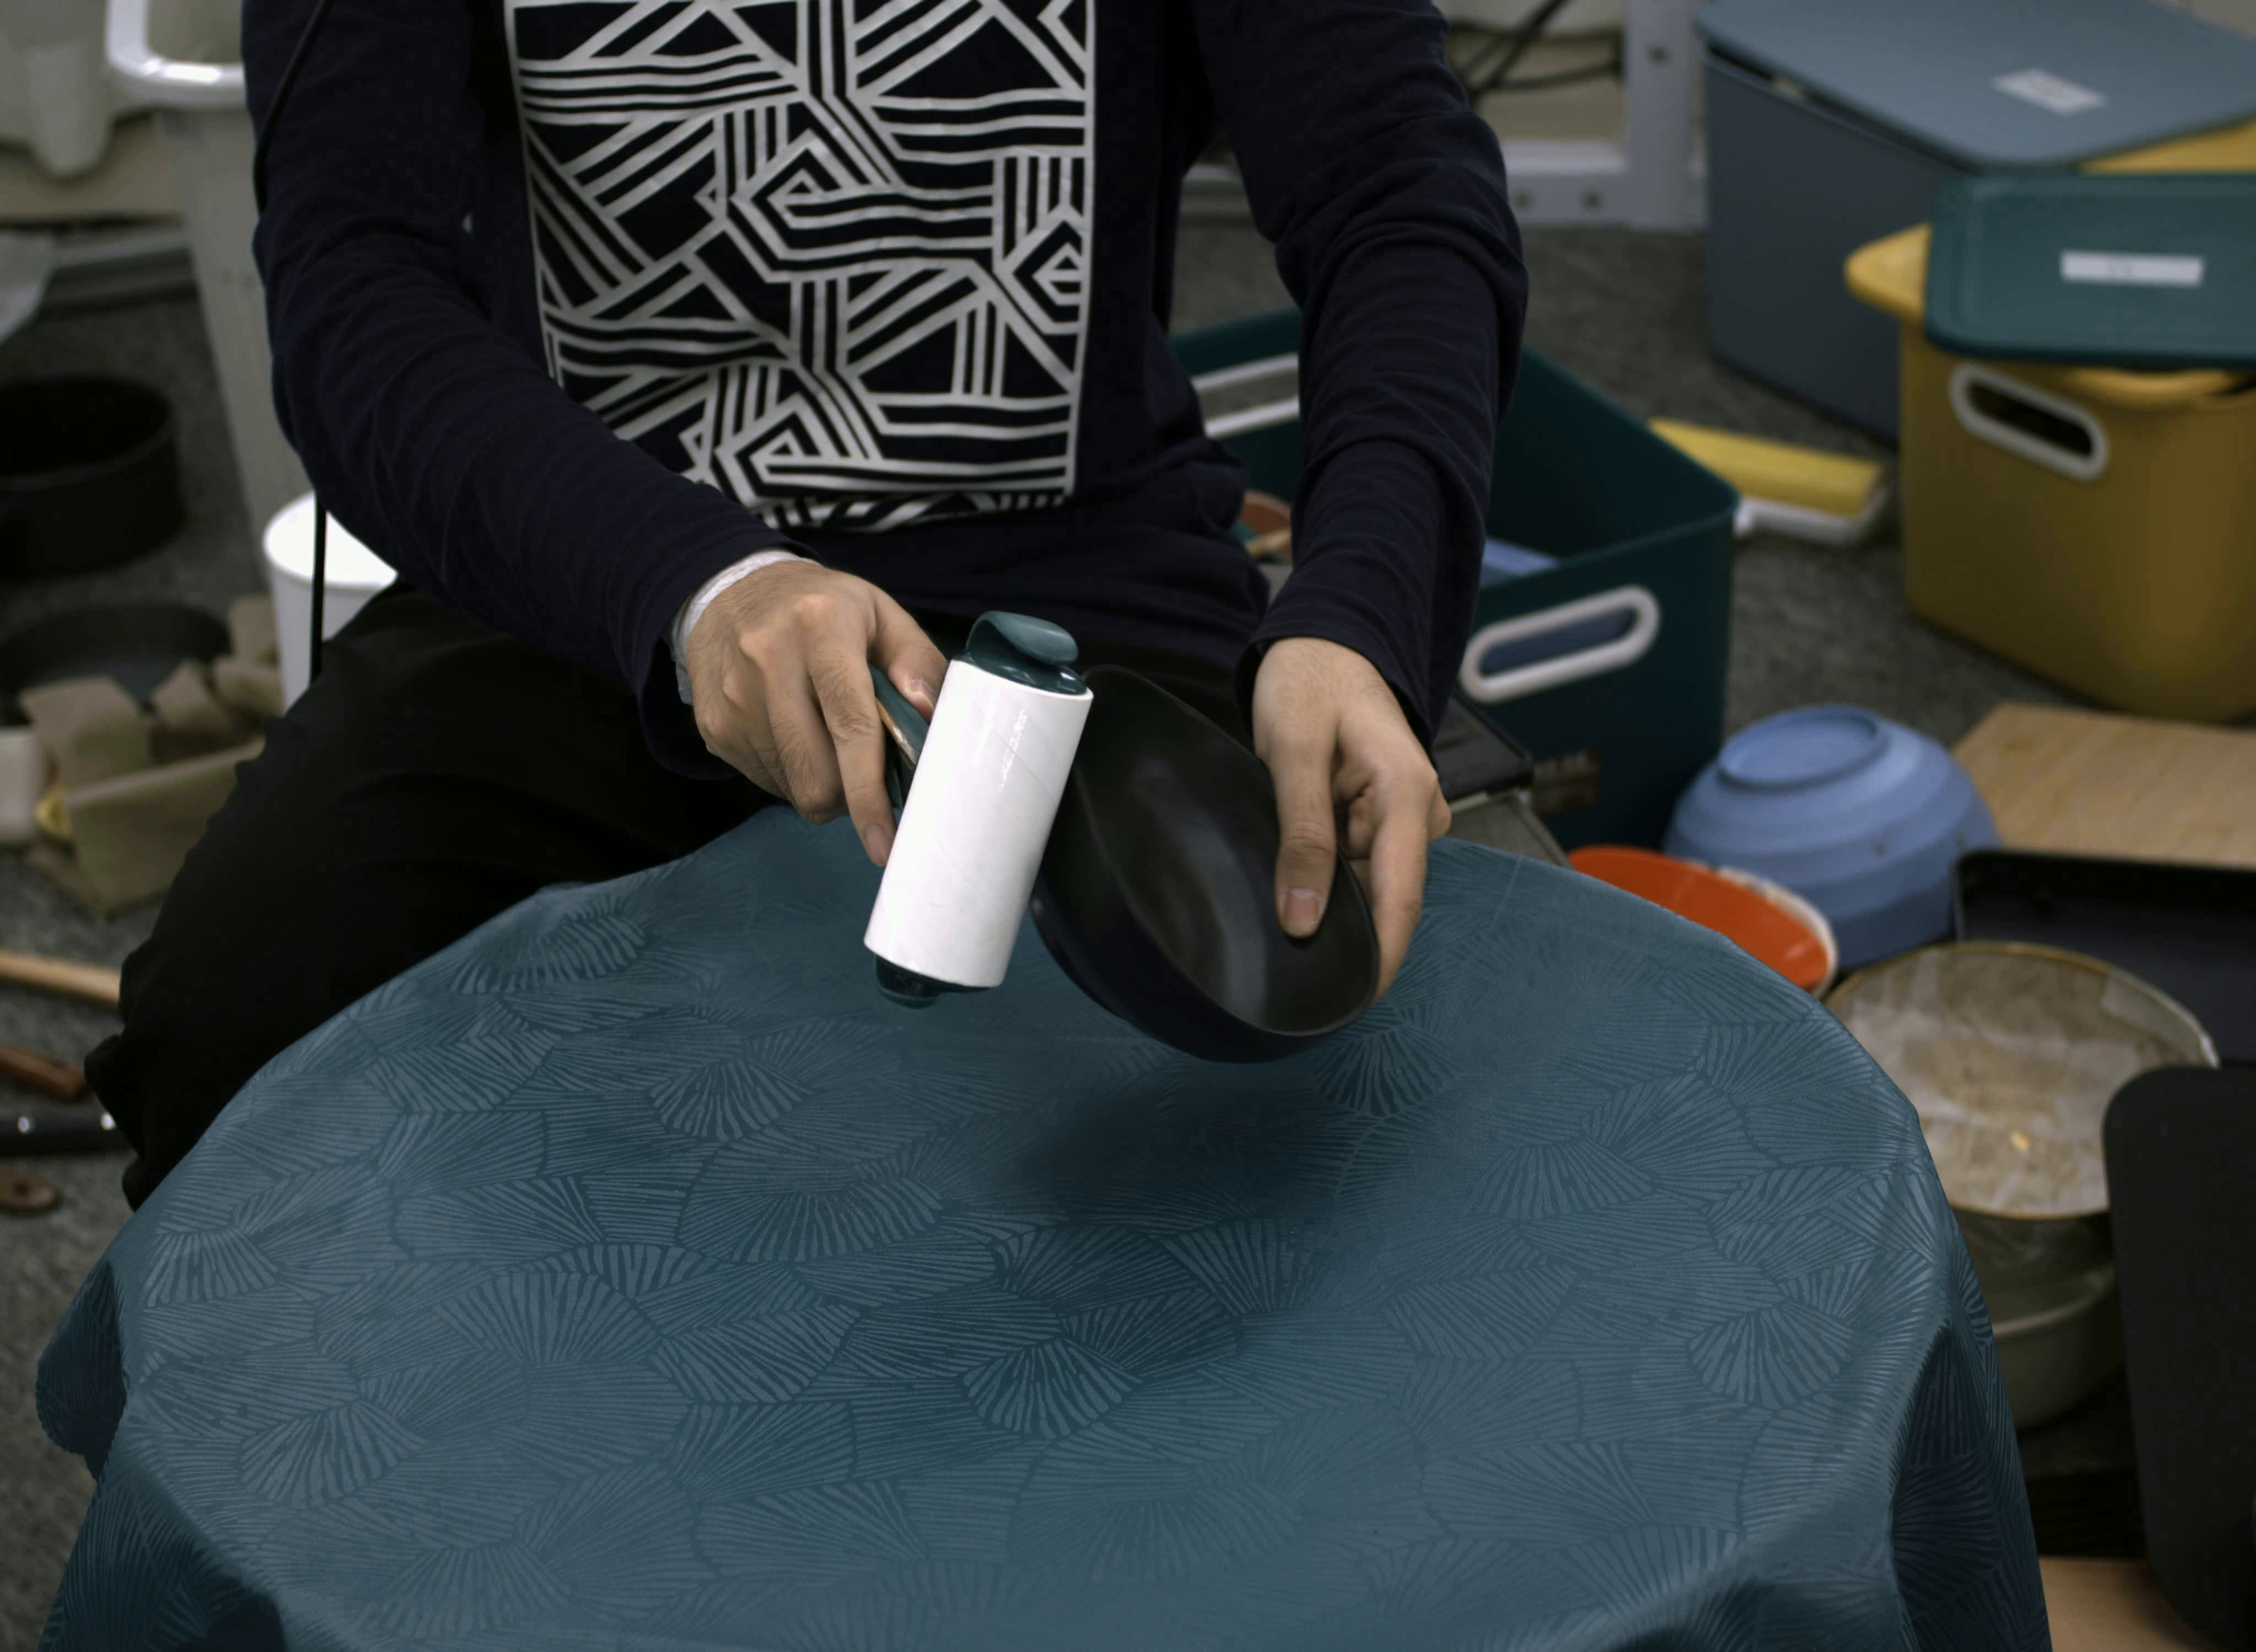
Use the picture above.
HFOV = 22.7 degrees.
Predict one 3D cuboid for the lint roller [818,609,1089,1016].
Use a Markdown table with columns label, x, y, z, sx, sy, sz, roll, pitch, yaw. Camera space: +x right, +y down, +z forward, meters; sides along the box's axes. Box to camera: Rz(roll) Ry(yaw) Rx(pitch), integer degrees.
| label | x | y | z | sx | sy | sz | roll | pitch | yaw |
| --- | --- | --- | --- | --- | --- | --- | --- | --- | --- |
| lint roller | -0.079 | -0.024 | 1.853 | 0.048 | 0.134 | 0.180 | 11 | 11 | -32 |

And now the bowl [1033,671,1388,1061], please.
| label | x | y | z | sx | sy | sz | roll | pitch | yaw |
| --- | --- | --- | --- | --- | --- | --- | --- | --- | --- |
| bowl | 0.014 | 0.021 | 1.853 | 0.136 | 0.066 | 0.173 | 35 | 27 | -25 |
